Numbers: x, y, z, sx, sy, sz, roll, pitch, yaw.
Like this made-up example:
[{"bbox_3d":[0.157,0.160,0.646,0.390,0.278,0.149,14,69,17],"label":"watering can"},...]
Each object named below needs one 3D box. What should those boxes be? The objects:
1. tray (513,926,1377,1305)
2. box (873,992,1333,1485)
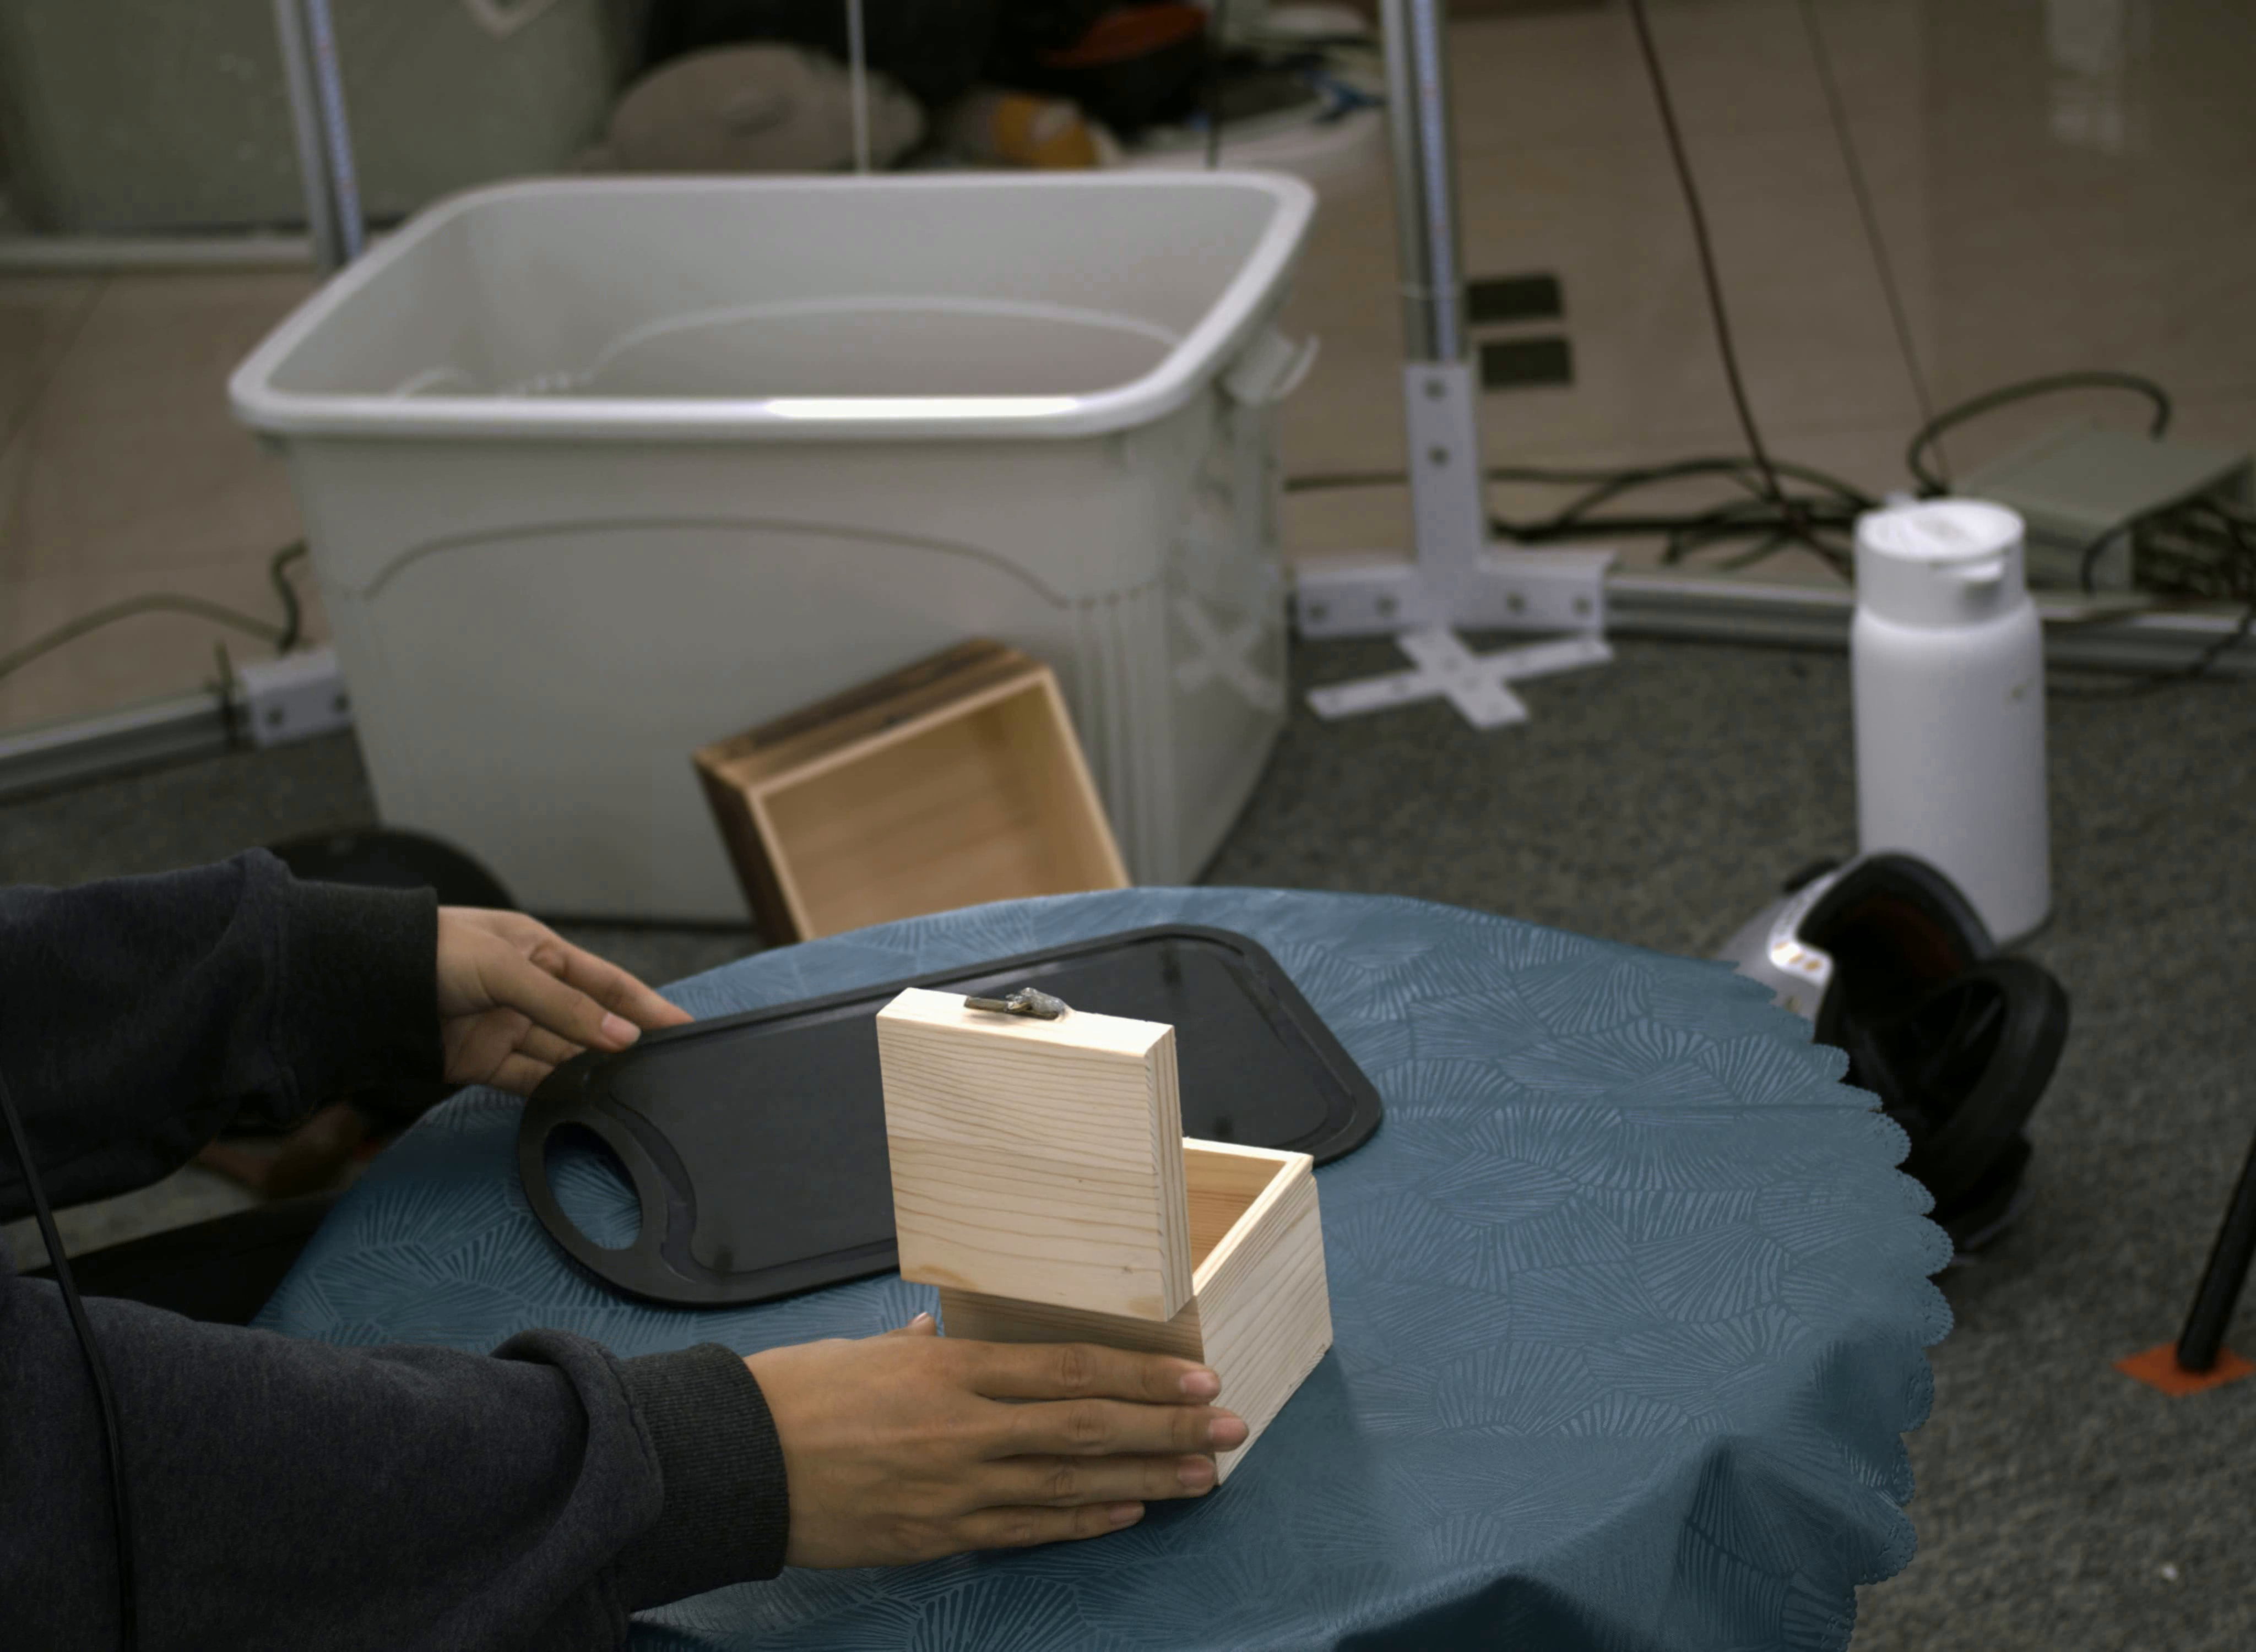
[{"bbox_3d":[-0.077,0.110,2.205,0.324,0.010,0.208,-12,29,-14],"label":"tray"},{"bbox_3d":[-0.006,0.123,1.961,0.102,0.187,0.132,6,30,24],"label":"box"}]
